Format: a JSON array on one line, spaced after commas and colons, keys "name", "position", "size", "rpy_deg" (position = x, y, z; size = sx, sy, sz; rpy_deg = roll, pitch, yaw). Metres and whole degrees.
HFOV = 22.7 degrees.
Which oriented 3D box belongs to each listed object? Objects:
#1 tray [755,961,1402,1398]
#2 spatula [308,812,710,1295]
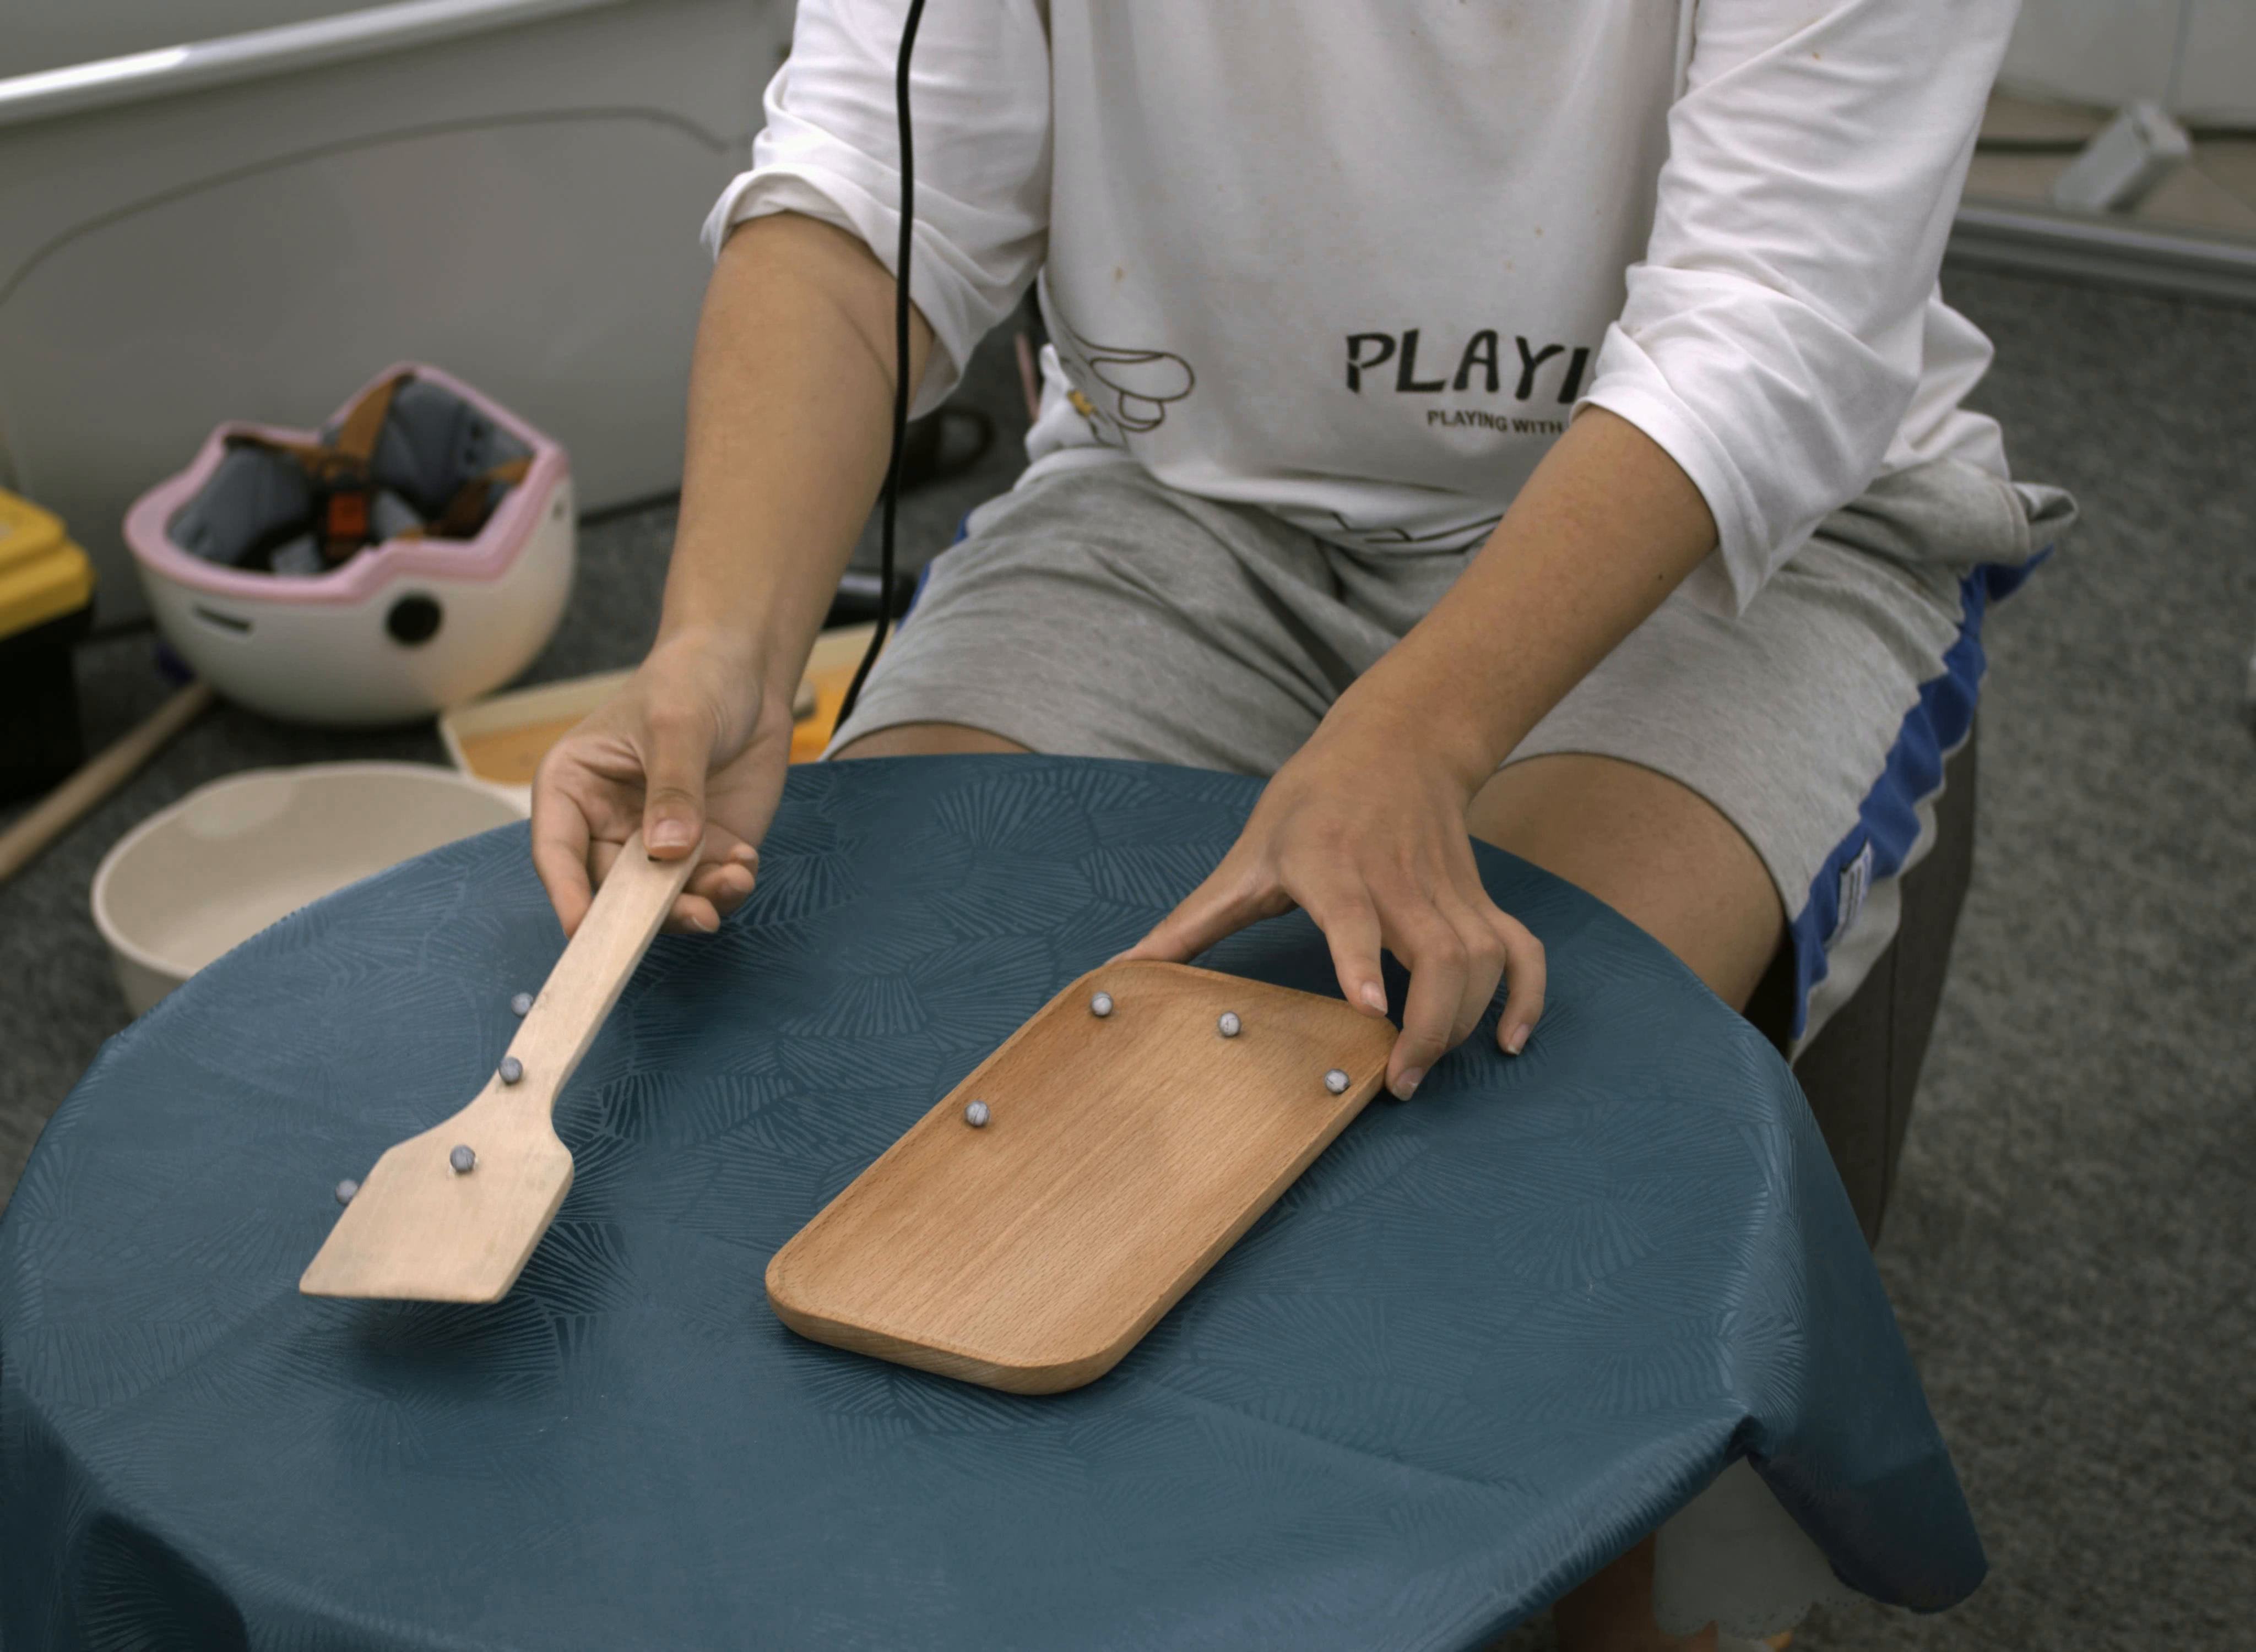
[{"name": "tray", "position": [-0.013, 0.115, 1.863], "size": [0.130, 0.022, 0.255], "rpy_deg": [10, 30, 29]}, {"name": "spatula", "position": [-0.196, 0.073, 1.899], "size": [0.072, 0.010, 0.298], "rpy_deg": [1, 31, 15]}]
